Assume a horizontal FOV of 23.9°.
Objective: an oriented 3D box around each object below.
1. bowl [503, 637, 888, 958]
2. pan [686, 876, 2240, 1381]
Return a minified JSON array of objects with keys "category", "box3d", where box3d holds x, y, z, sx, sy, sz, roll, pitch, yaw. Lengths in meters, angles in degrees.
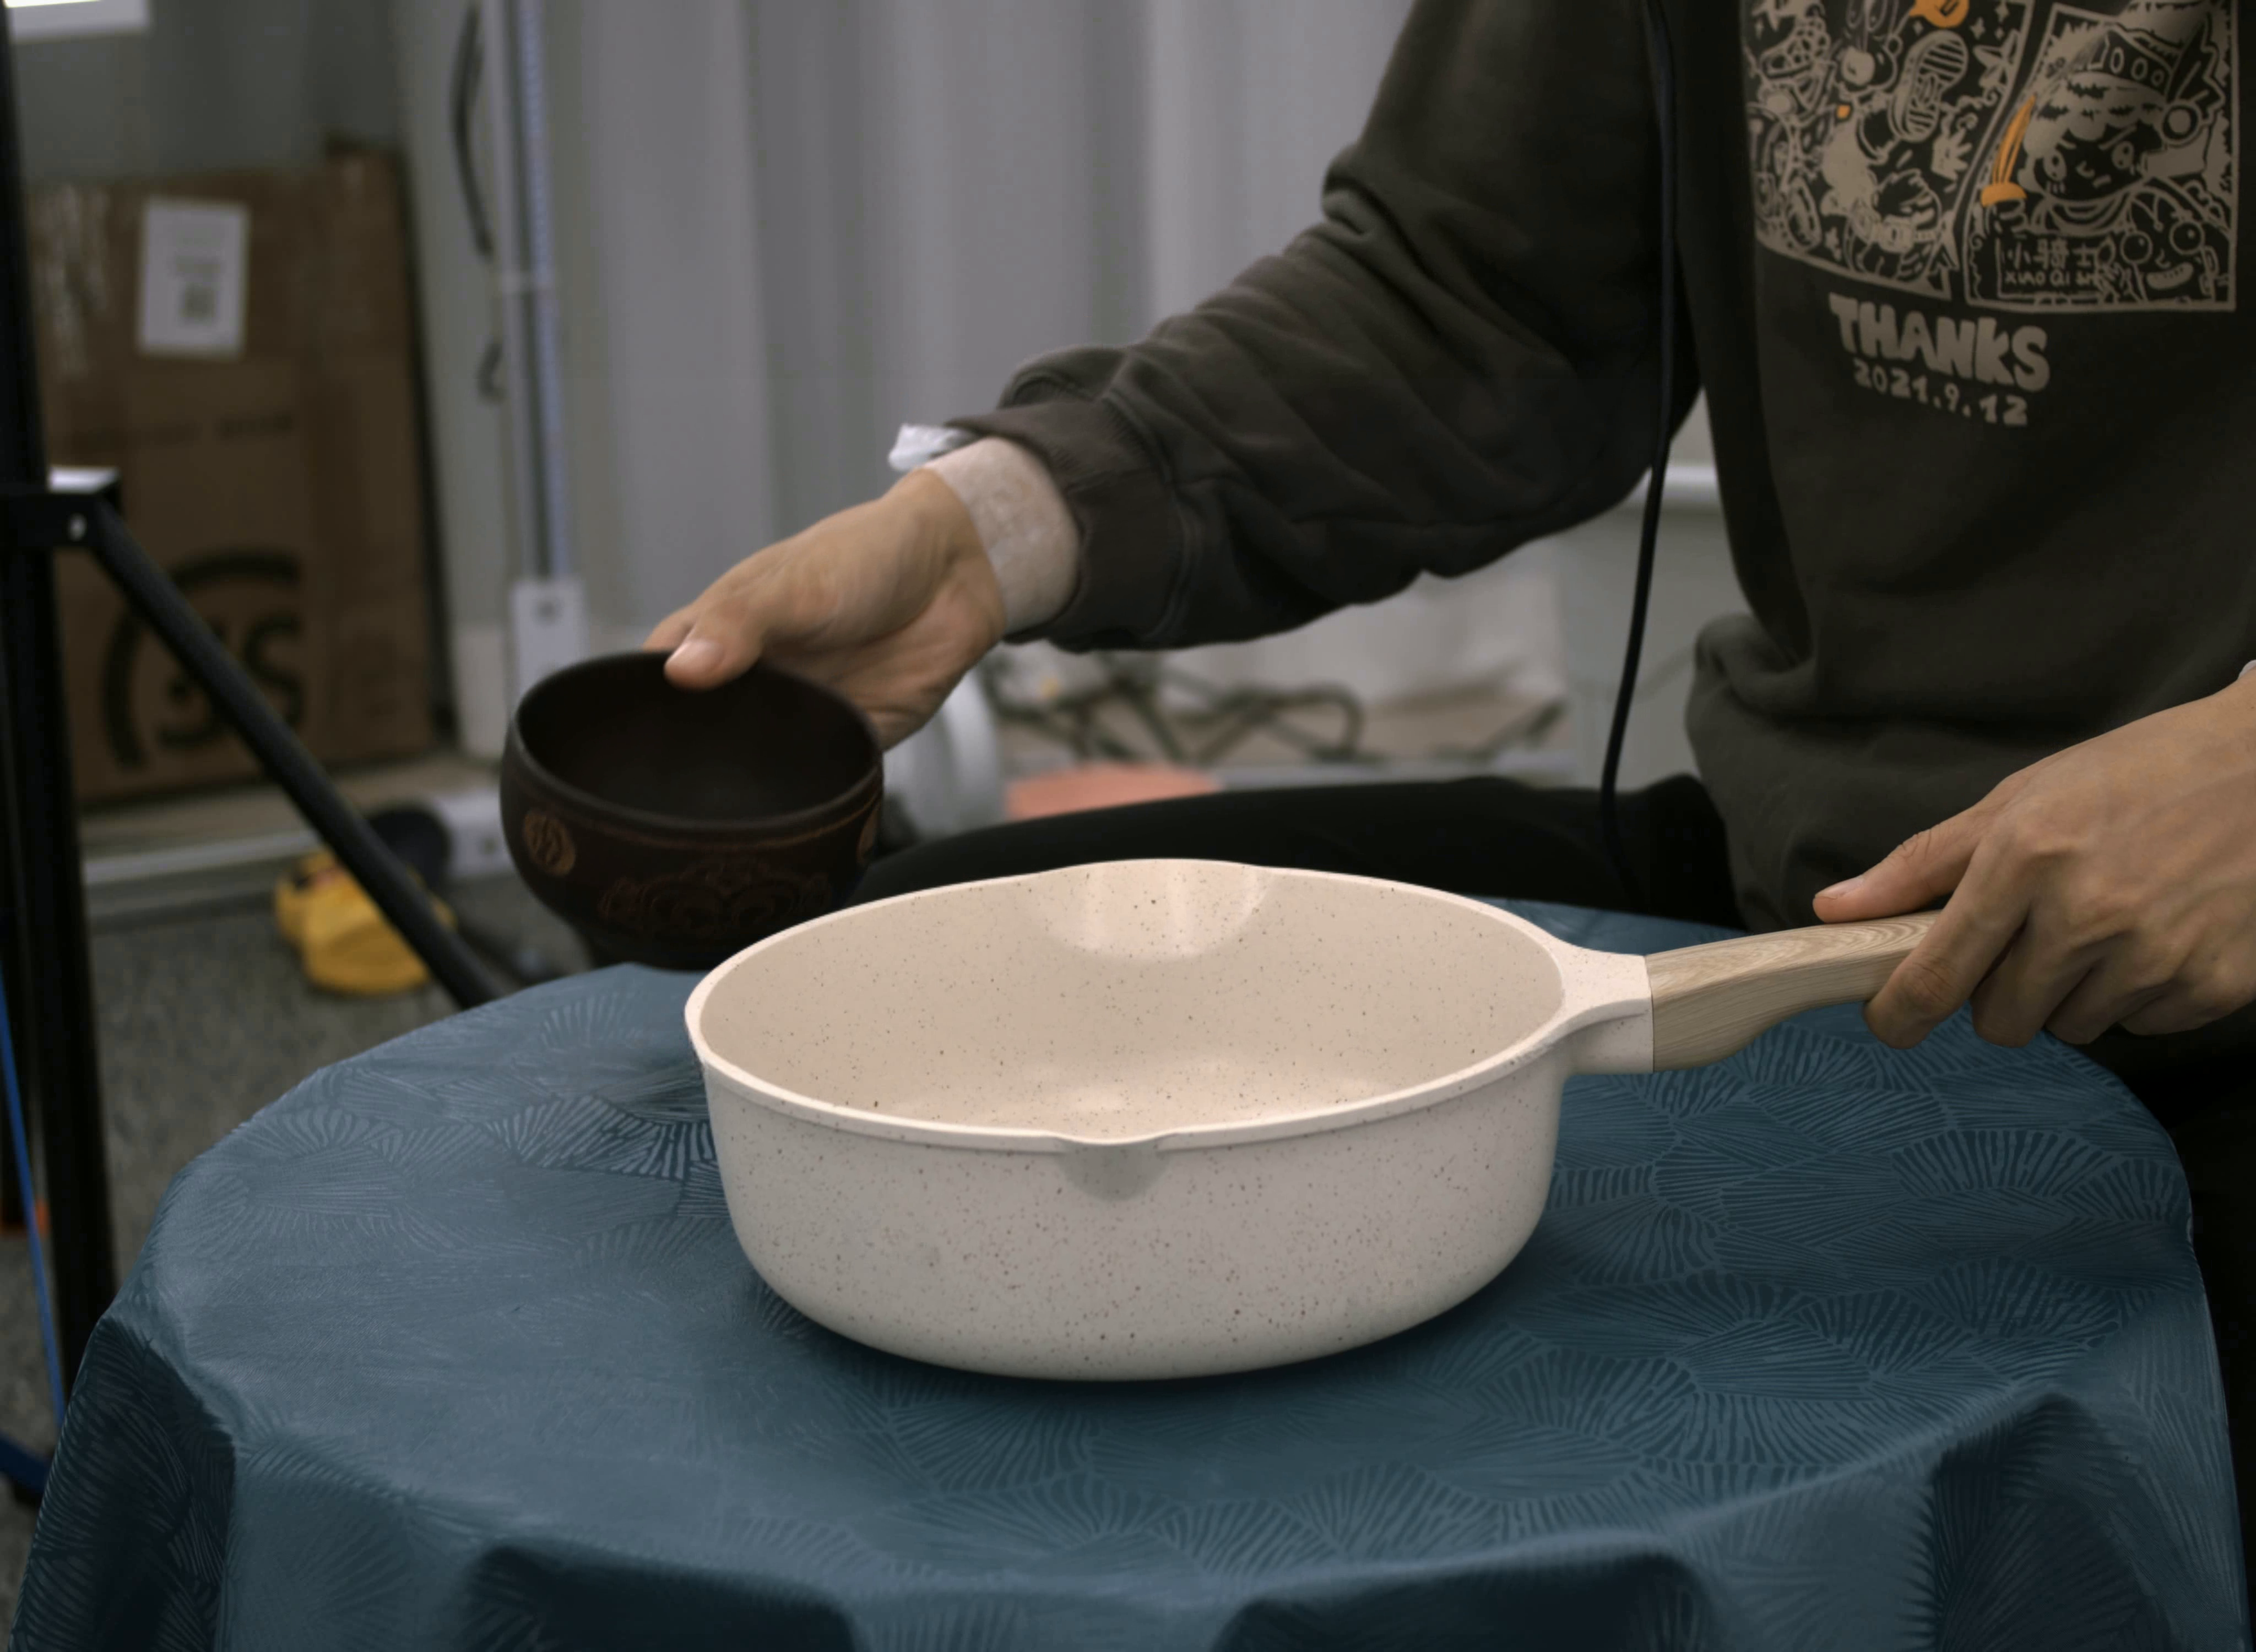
[{"category":"bowl","box3d":[-0.135,-0.003,1.646,0.117,0.070,0.119,6,27,-4]},{"category":"pan","box3d":[0.095,0.076,1.479,0.434,0.102,0.263,-1,14,4]}]
